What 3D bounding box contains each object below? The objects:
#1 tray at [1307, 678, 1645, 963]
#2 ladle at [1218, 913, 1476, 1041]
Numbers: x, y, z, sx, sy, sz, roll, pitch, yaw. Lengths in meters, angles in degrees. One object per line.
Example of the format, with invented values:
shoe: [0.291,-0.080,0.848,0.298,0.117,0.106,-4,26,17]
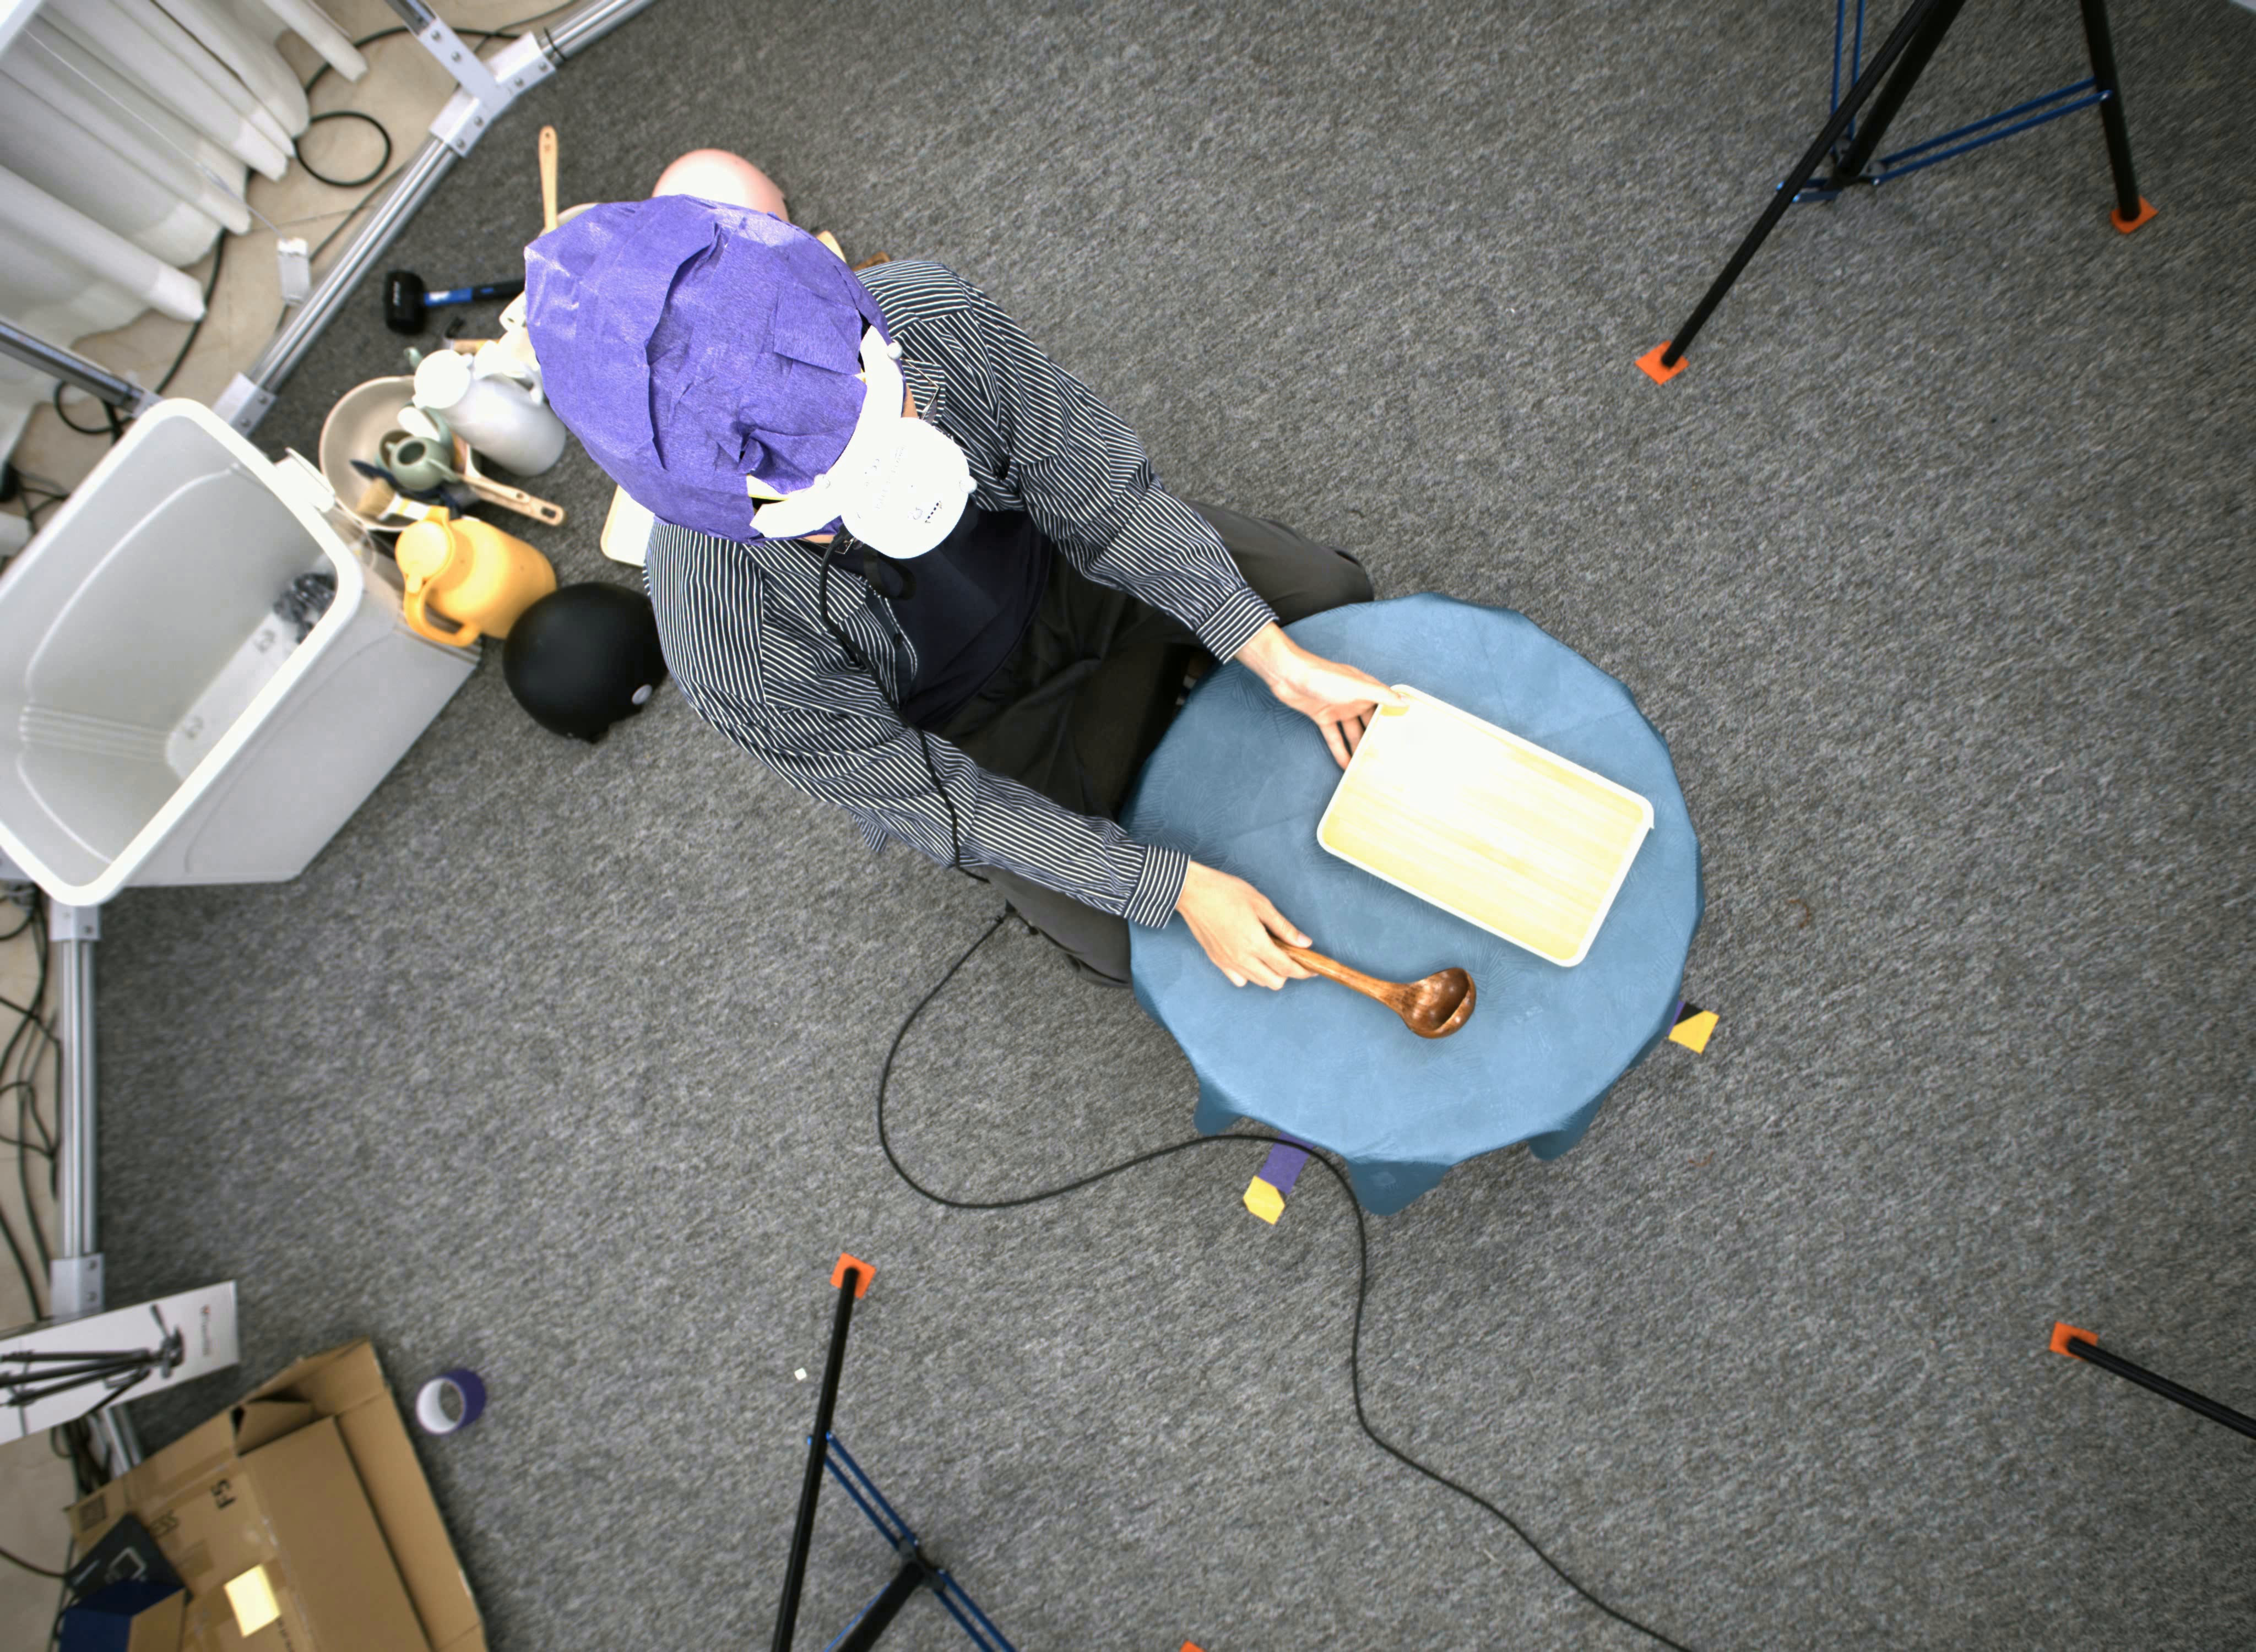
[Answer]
tray: [0.354,-0.008,1.411,0.300,0.027,0.192,27,94,6]
ladle: [0.218,0.138,1.404,0.274,0.078,0.080,24,60,13]
